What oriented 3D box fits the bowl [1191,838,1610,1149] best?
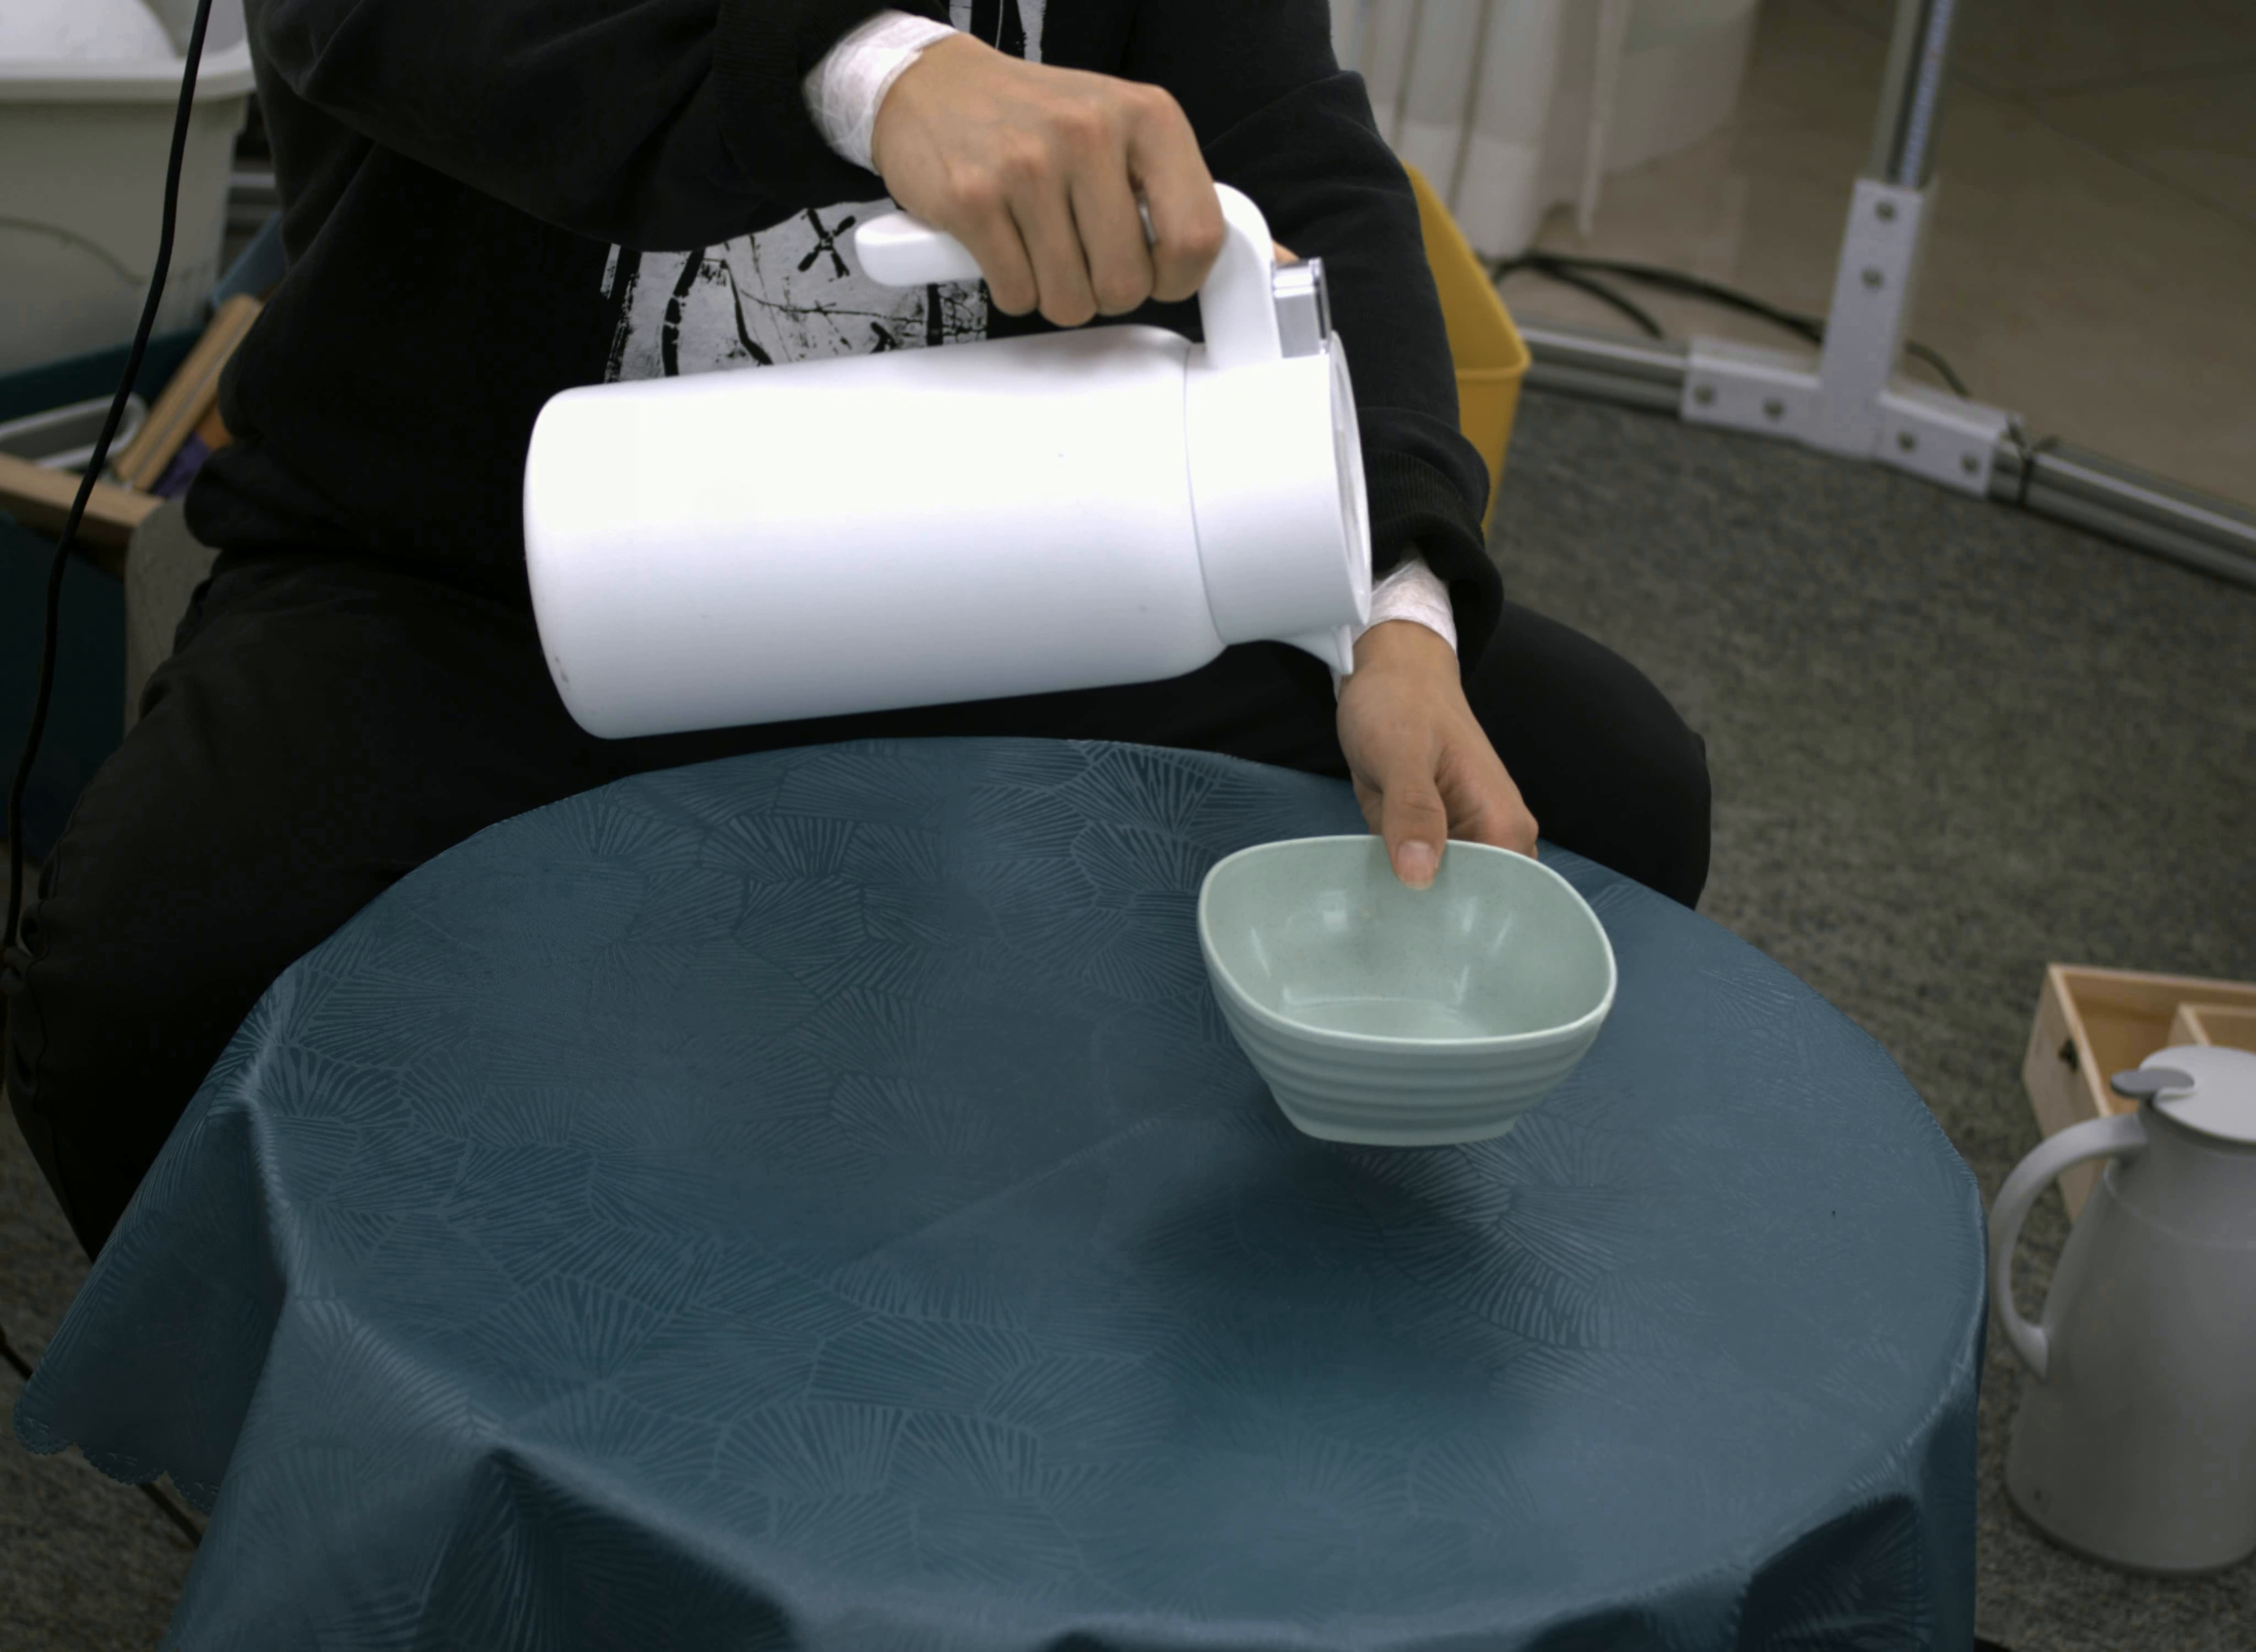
[{"bbox_3d":[0.089,0.062,1.790,0.151,0.058,0.152,4,28,-2],"label":"bowl"}]

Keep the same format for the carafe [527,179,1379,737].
[{"bbox_3d":[-0.060,-0.115,1.742,0.269,0.172,0.124,-5,25,11],"label":"carafe"}]
